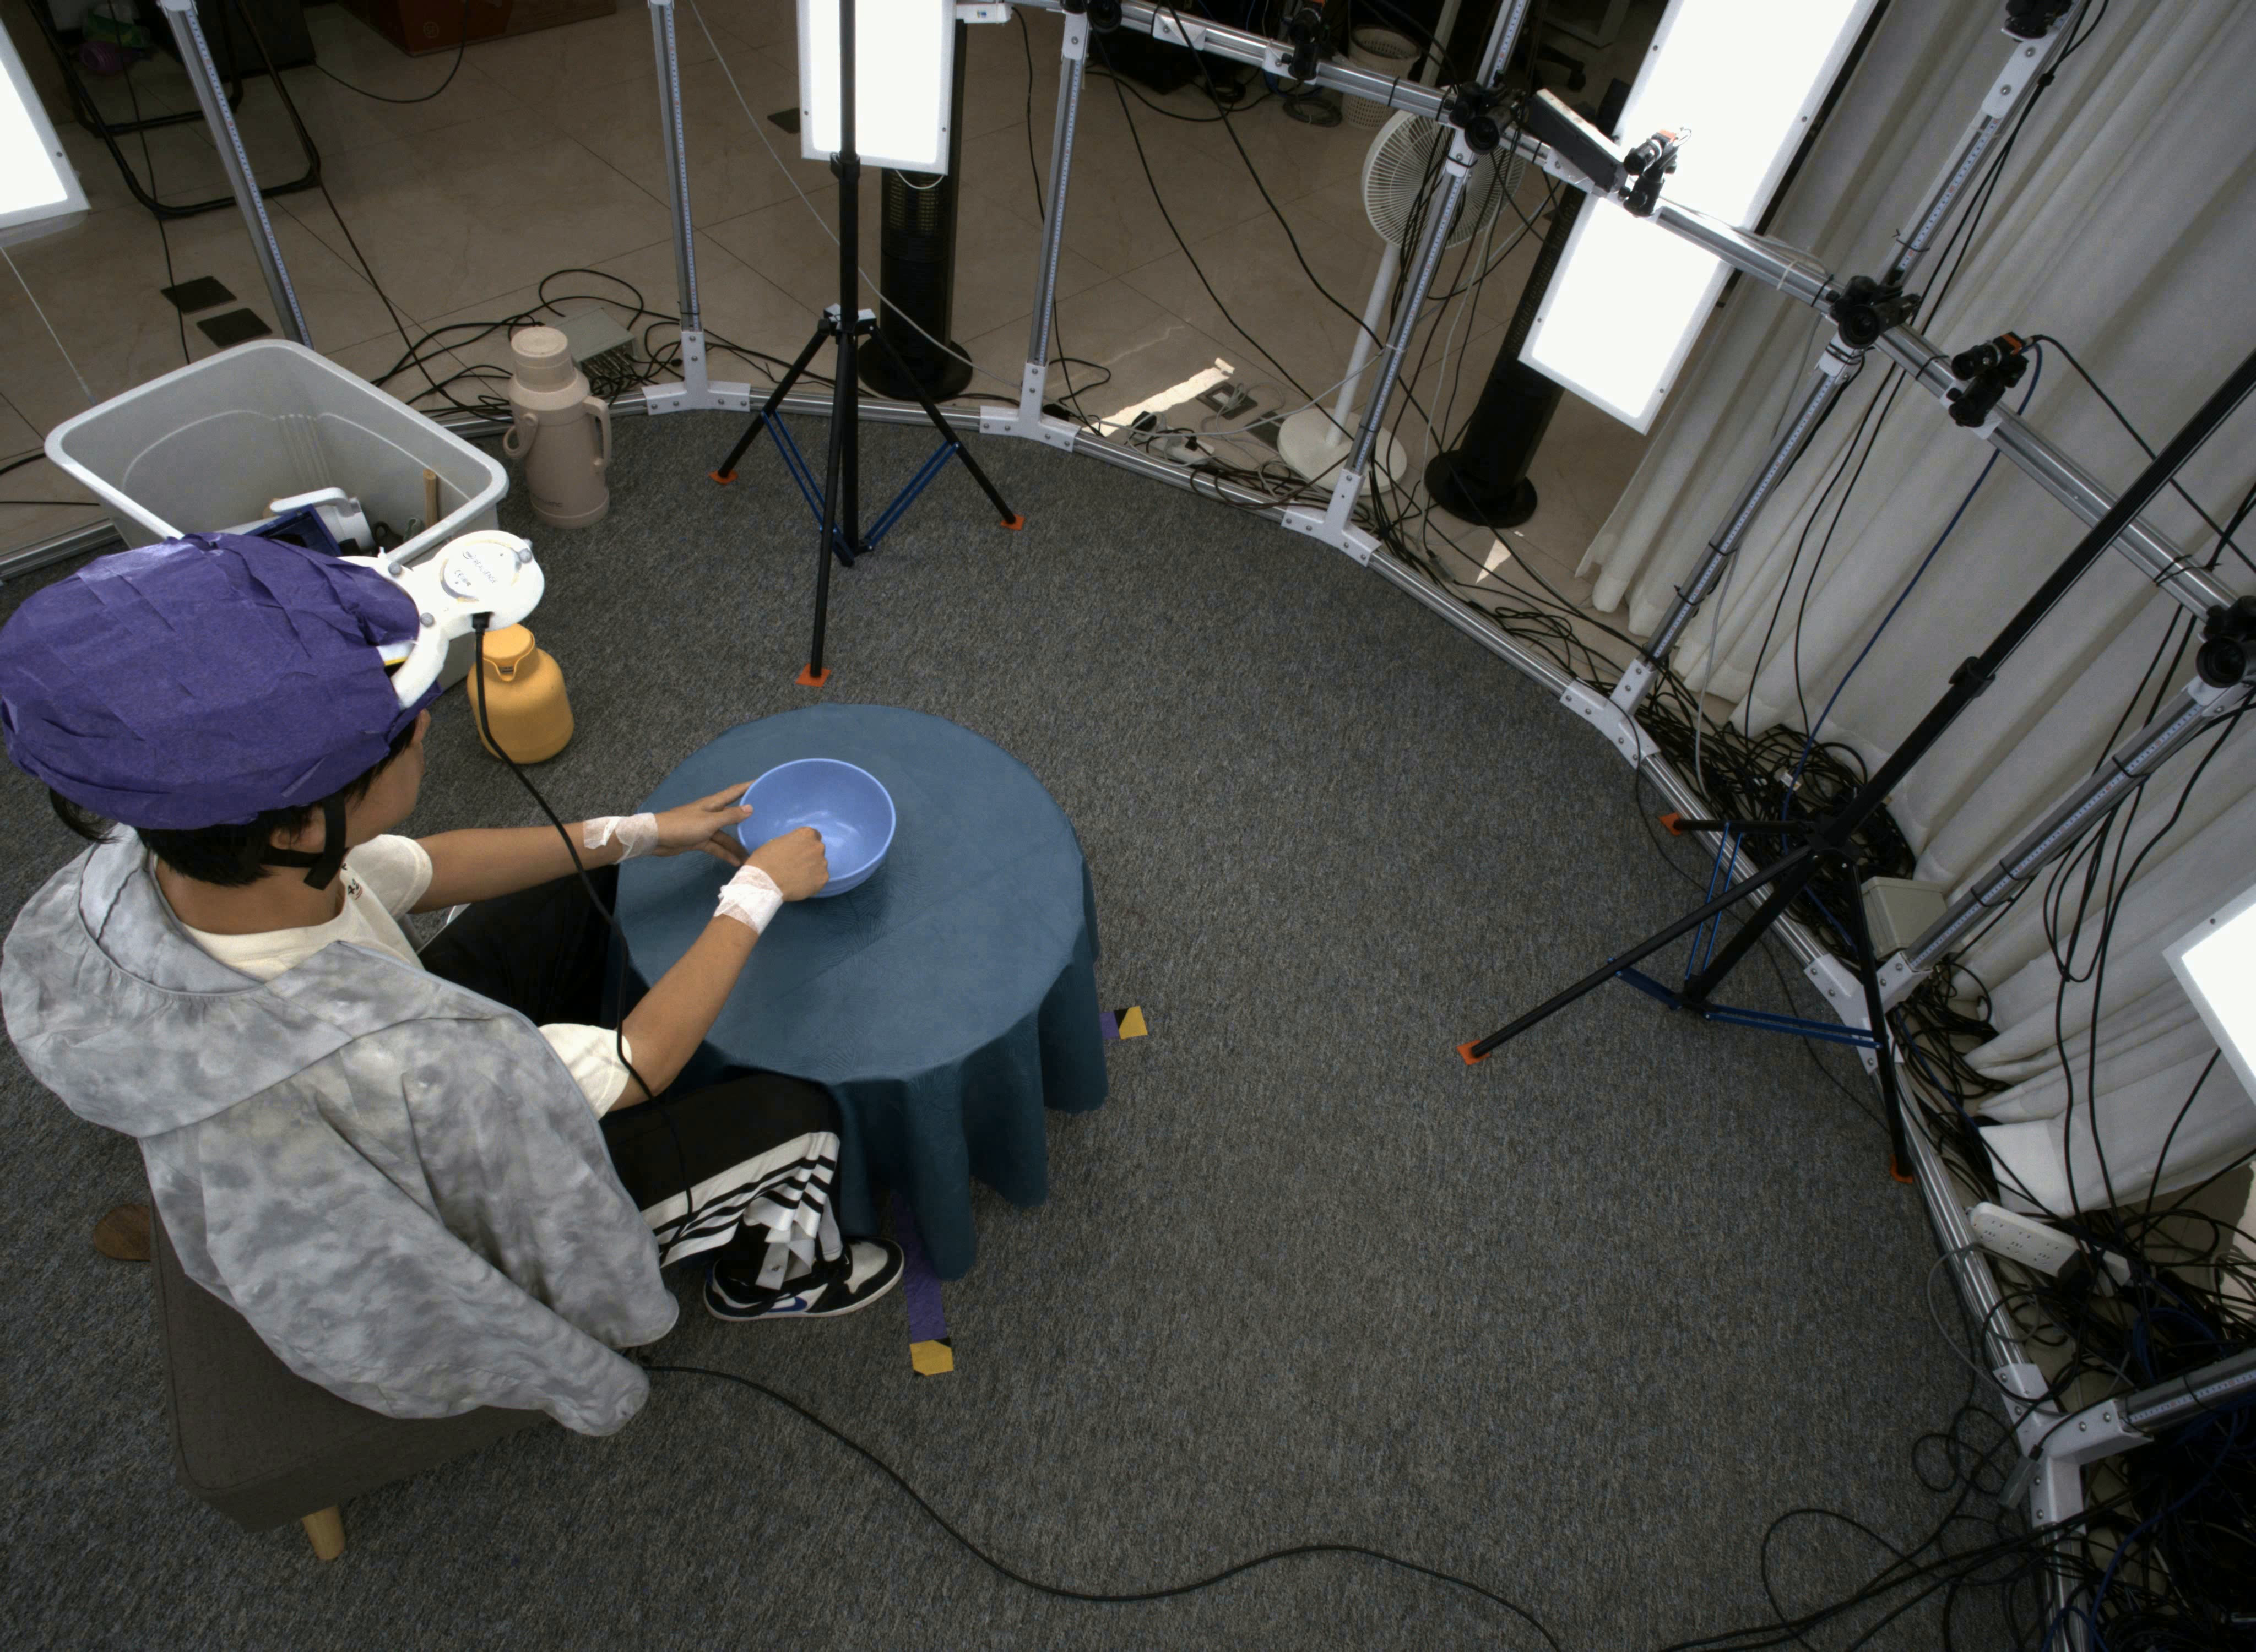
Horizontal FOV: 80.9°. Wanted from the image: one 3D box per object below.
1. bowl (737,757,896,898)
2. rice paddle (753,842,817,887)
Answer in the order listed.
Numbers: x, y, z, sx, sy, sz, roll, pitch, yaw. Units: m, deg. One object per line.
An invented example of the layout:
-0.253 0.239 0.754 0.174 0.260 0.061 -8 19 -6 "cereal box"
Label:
-0.397 0.017 1.658 0.196 0.097 0.193 9 51 -9 "bowl"
-0.422 0.036 1.601 0.069 0.030 0.199 -6 14 -25 "rice paddle"
